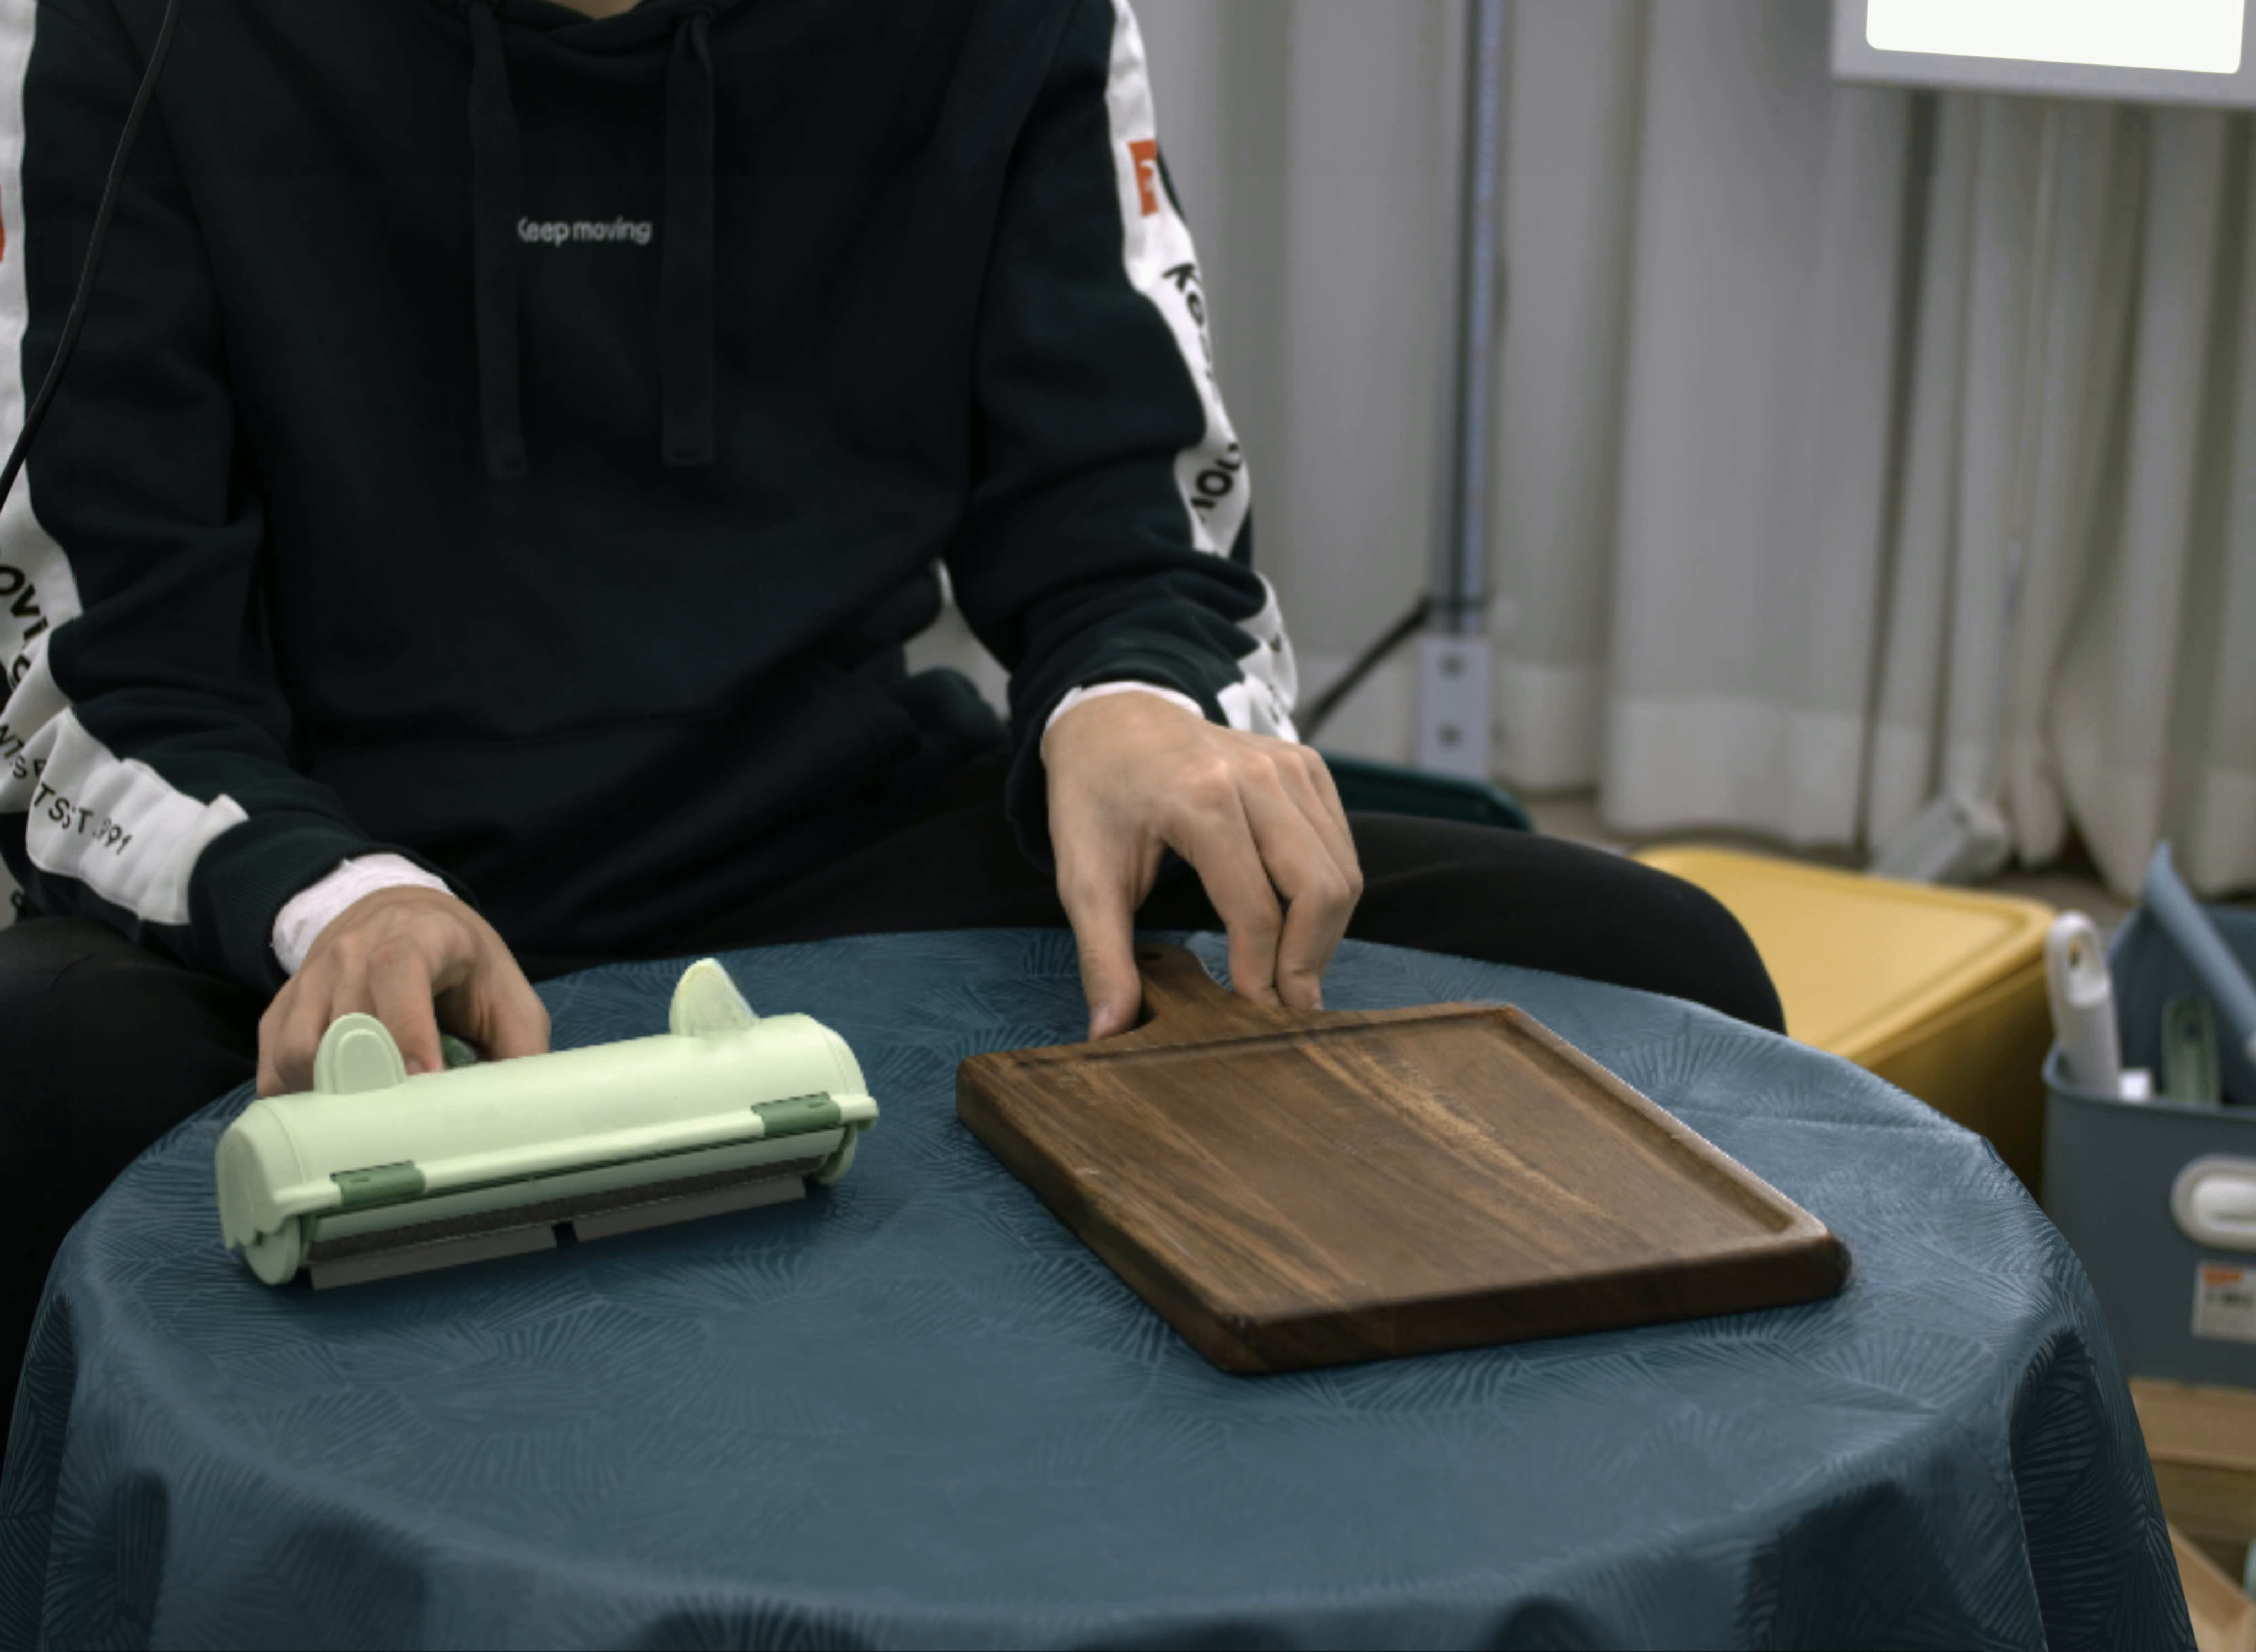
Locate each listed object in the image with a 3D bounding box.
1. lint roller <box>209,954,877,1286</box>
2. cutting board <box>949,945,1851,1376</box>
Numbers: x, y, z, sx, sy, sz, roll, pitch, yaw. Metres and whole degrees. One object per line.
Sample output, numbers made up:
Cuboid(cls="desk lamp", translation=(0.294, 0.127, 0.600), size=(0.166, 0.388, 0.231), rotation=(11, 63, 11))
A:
Cuboid(cls="lint roller", translation=(-0.201, 0.072, 1.614), size=(0.199, 0.083, 0.181), rotation=(-9, 22, -29))
Cuboid(cls="cutting board", translation=(0.060, 0.094, 1.651), size=(0.201, 0.023, 0.348), rotation=(-5, 16, -20))
